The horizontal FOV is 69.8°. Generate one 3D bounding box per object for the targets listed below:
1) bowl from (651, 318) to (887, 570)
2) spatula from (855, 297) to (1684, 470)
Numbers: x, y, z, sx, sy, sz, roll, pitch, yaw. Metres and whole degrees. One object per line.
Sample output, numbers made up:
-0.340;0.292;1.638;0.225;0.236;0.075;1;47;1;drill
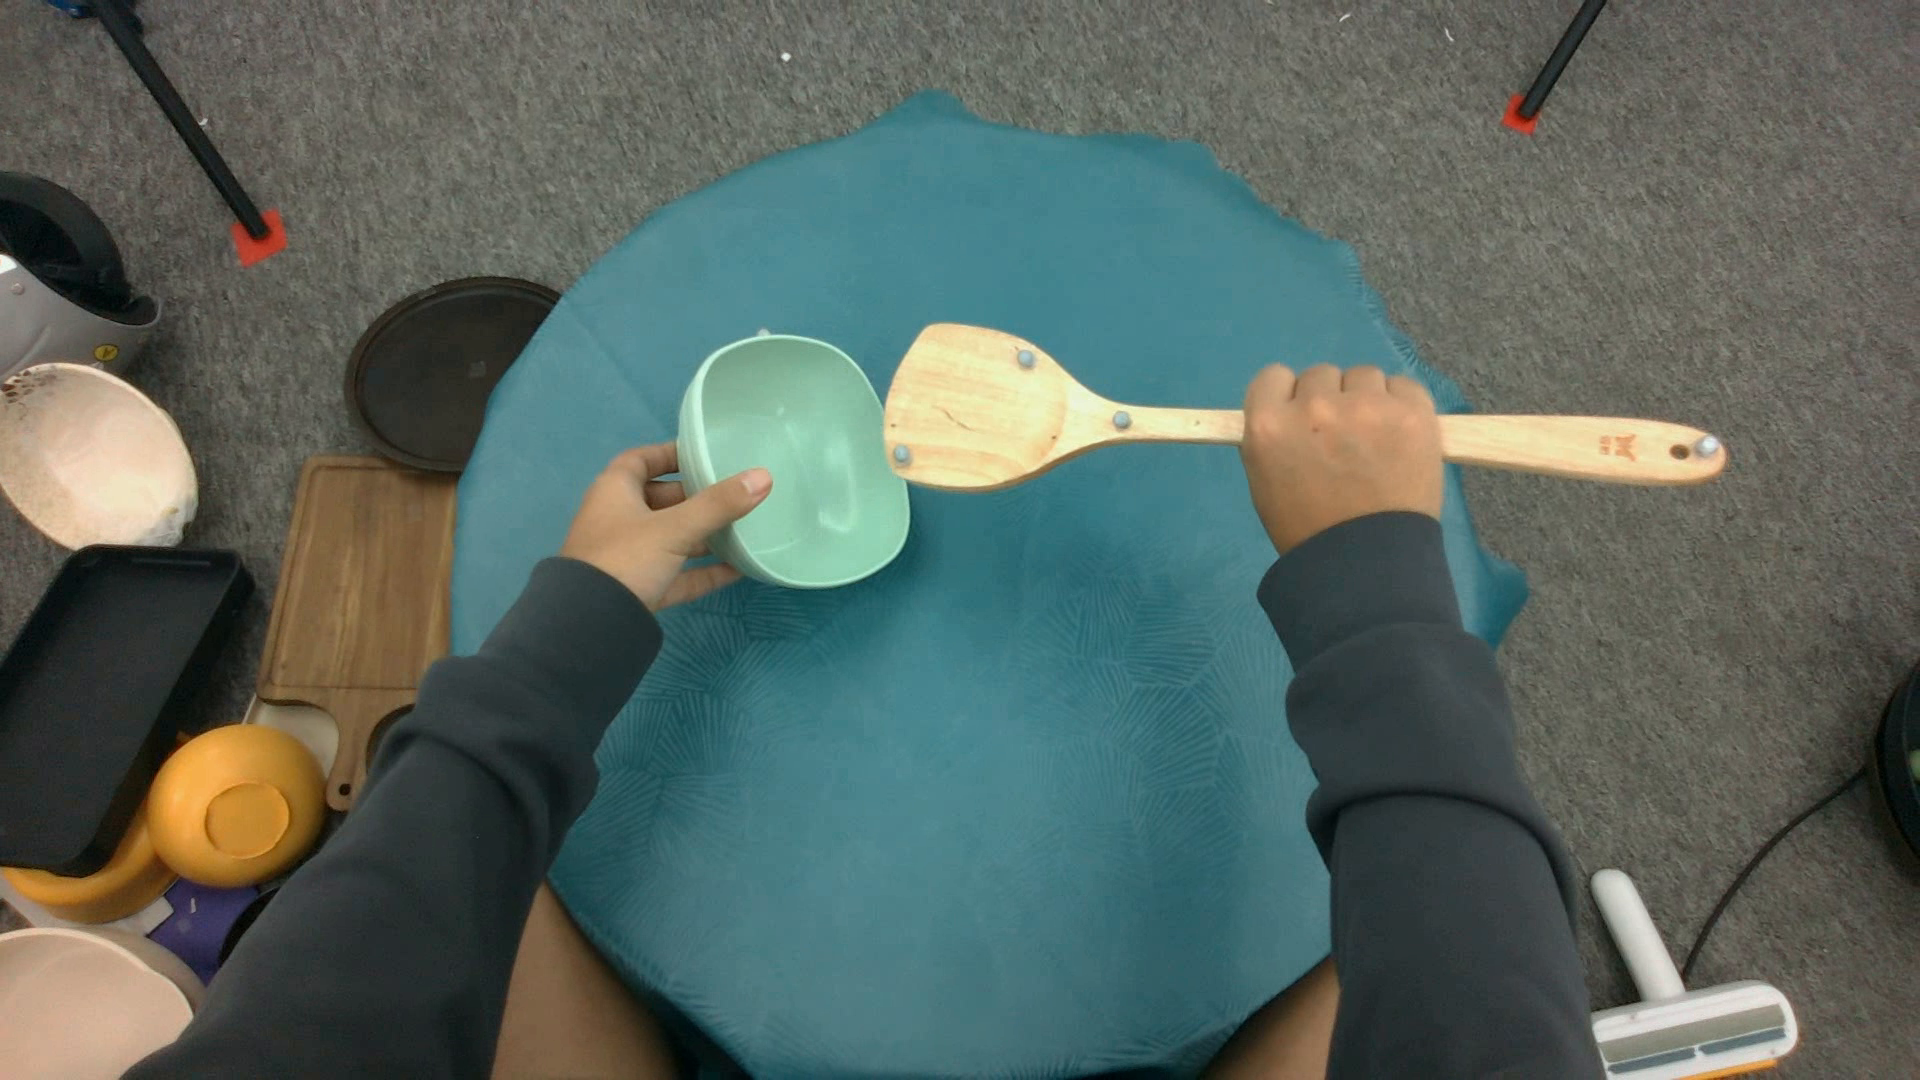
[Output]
-0.112;-0.045;0.742;0.151;0.058;0.152;23;57;-41;bowl
0.135;-0.069;0.665;0.390;0.018;0.096;4;70;17;spatula
